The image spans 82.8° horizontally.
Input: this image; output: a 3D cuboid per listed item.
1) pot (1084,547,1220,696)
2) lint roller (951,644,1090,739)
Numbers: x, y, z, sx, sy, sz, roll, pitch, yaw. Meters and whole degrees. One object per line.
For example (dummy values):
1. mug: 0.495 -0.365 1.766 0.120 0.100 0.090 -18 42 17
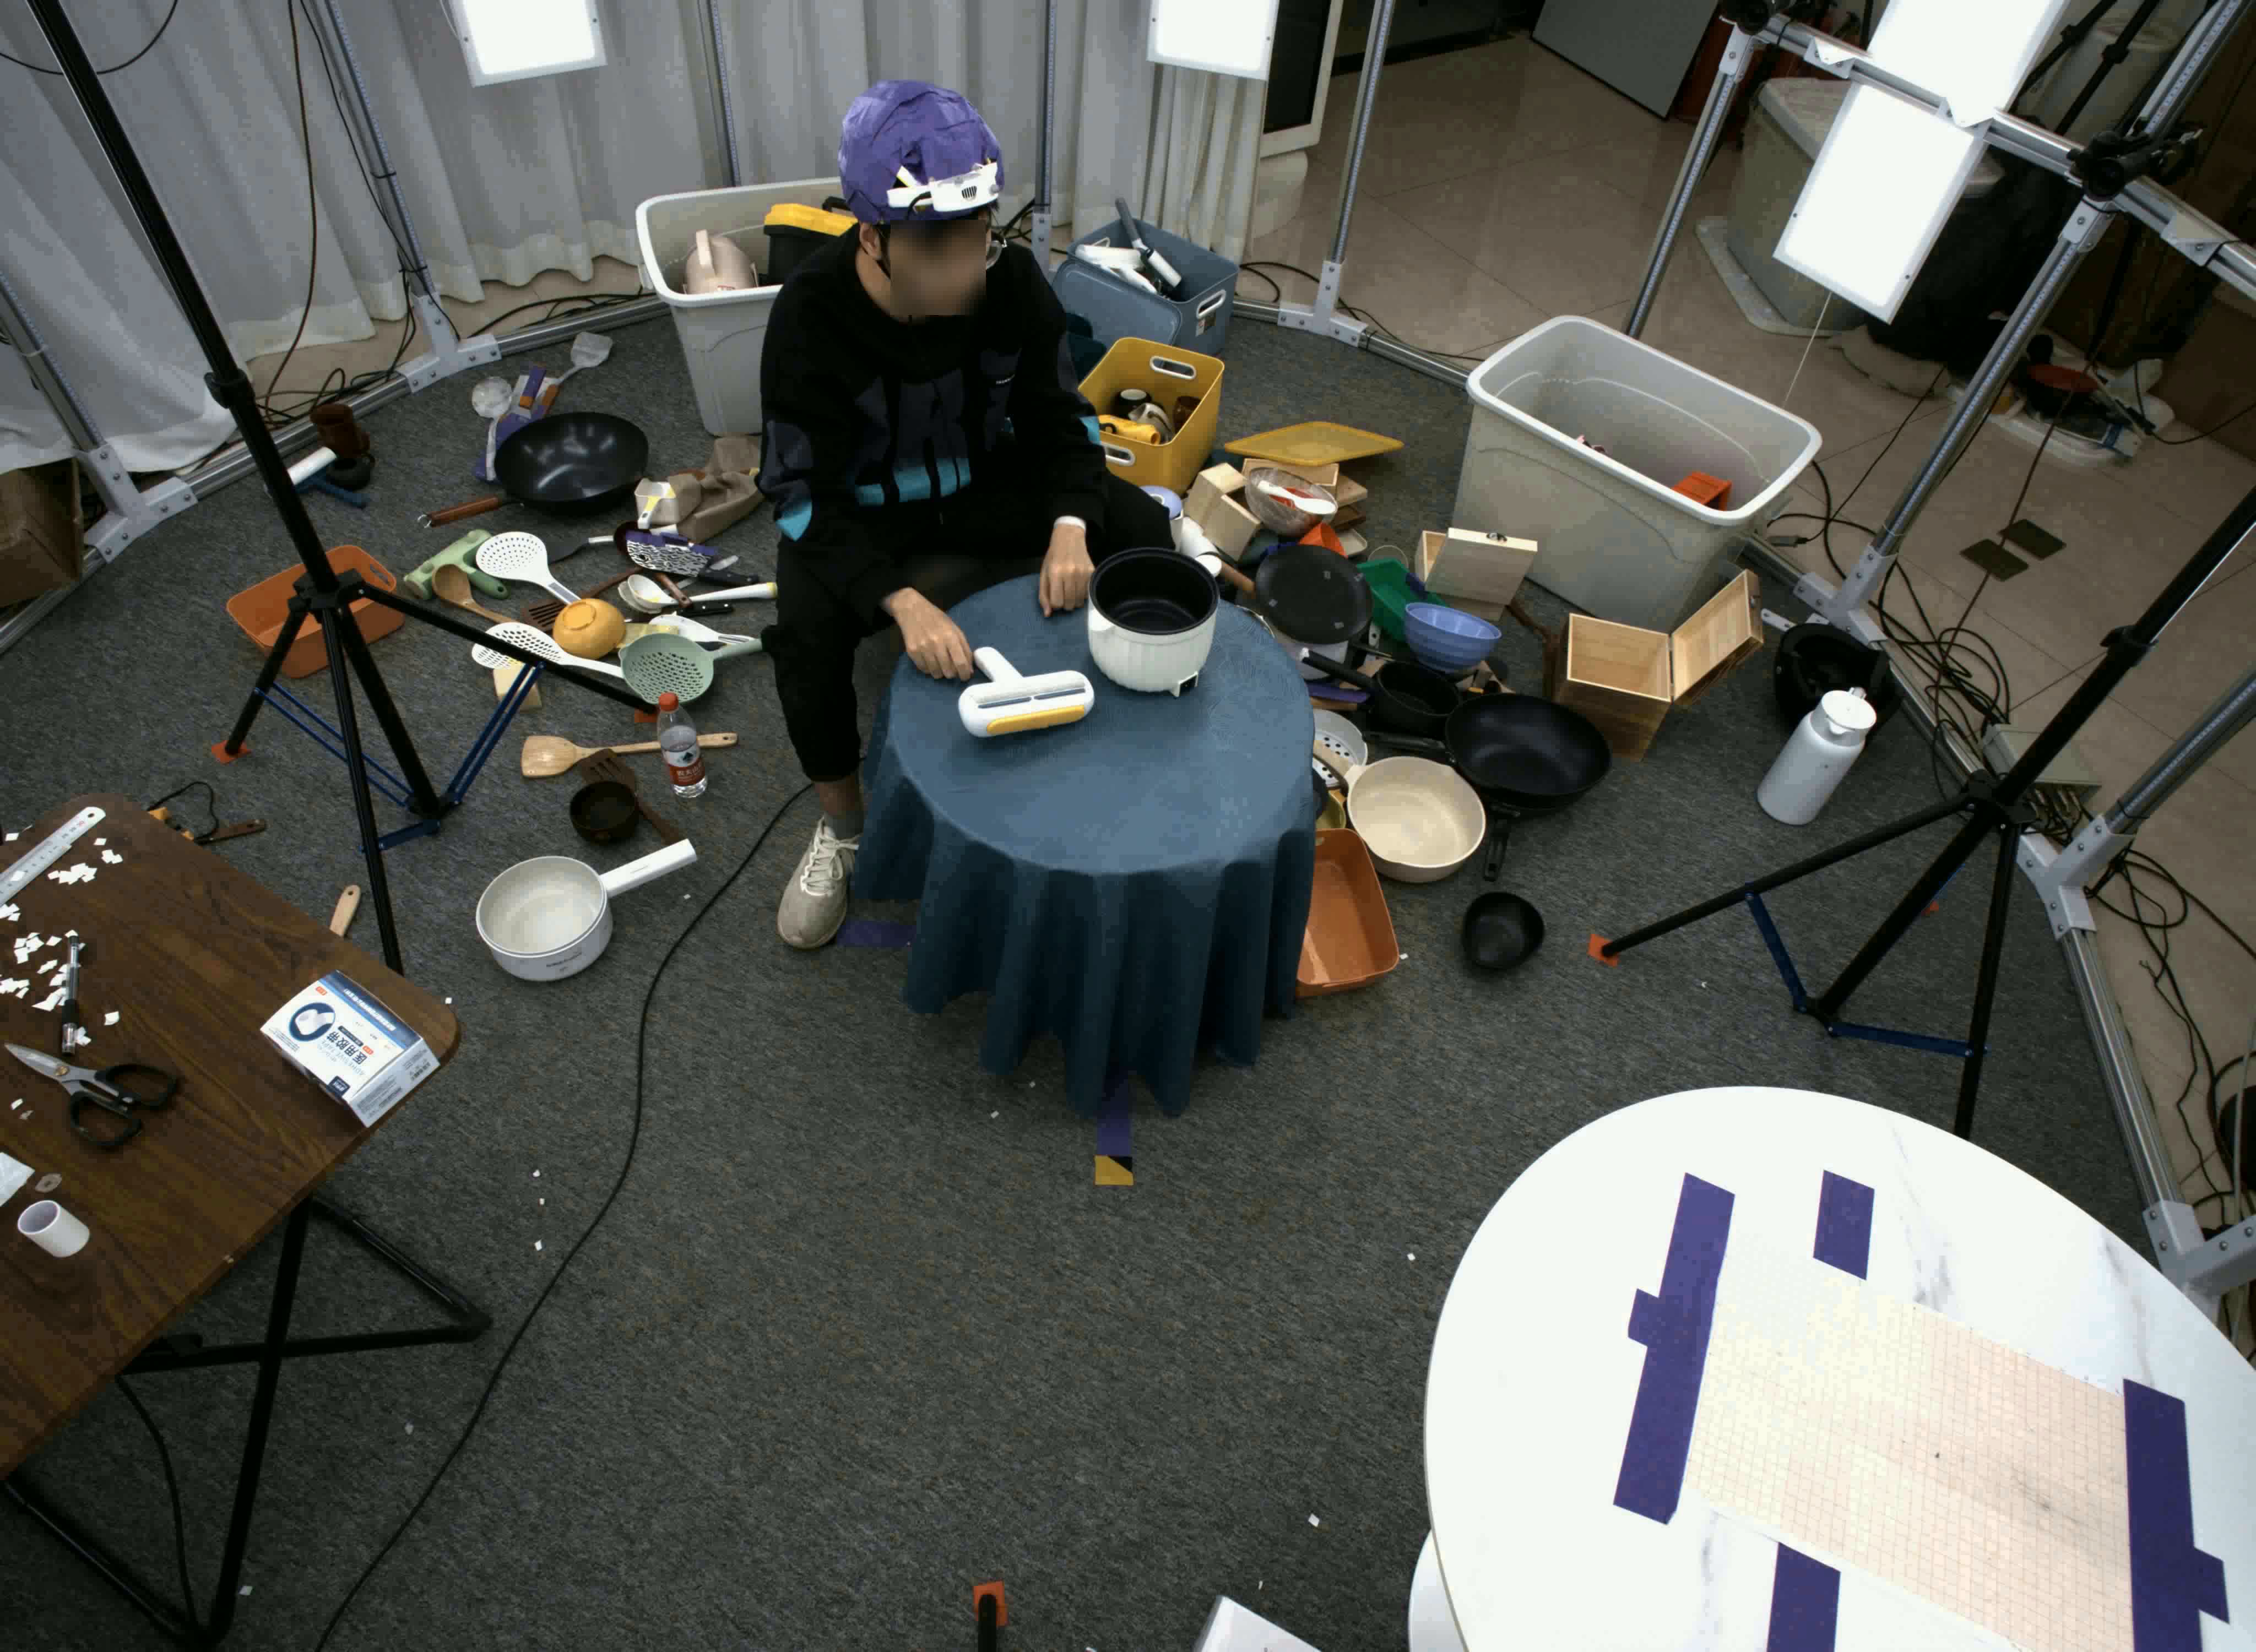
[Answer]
1. pot: 0.028 -0.289 1.830 0.242 0.139 0.193 -31 60 -28
2. lint roller: -0.167 -0.202 1.789 0.193 0.072 0.197 -12 50 -20
